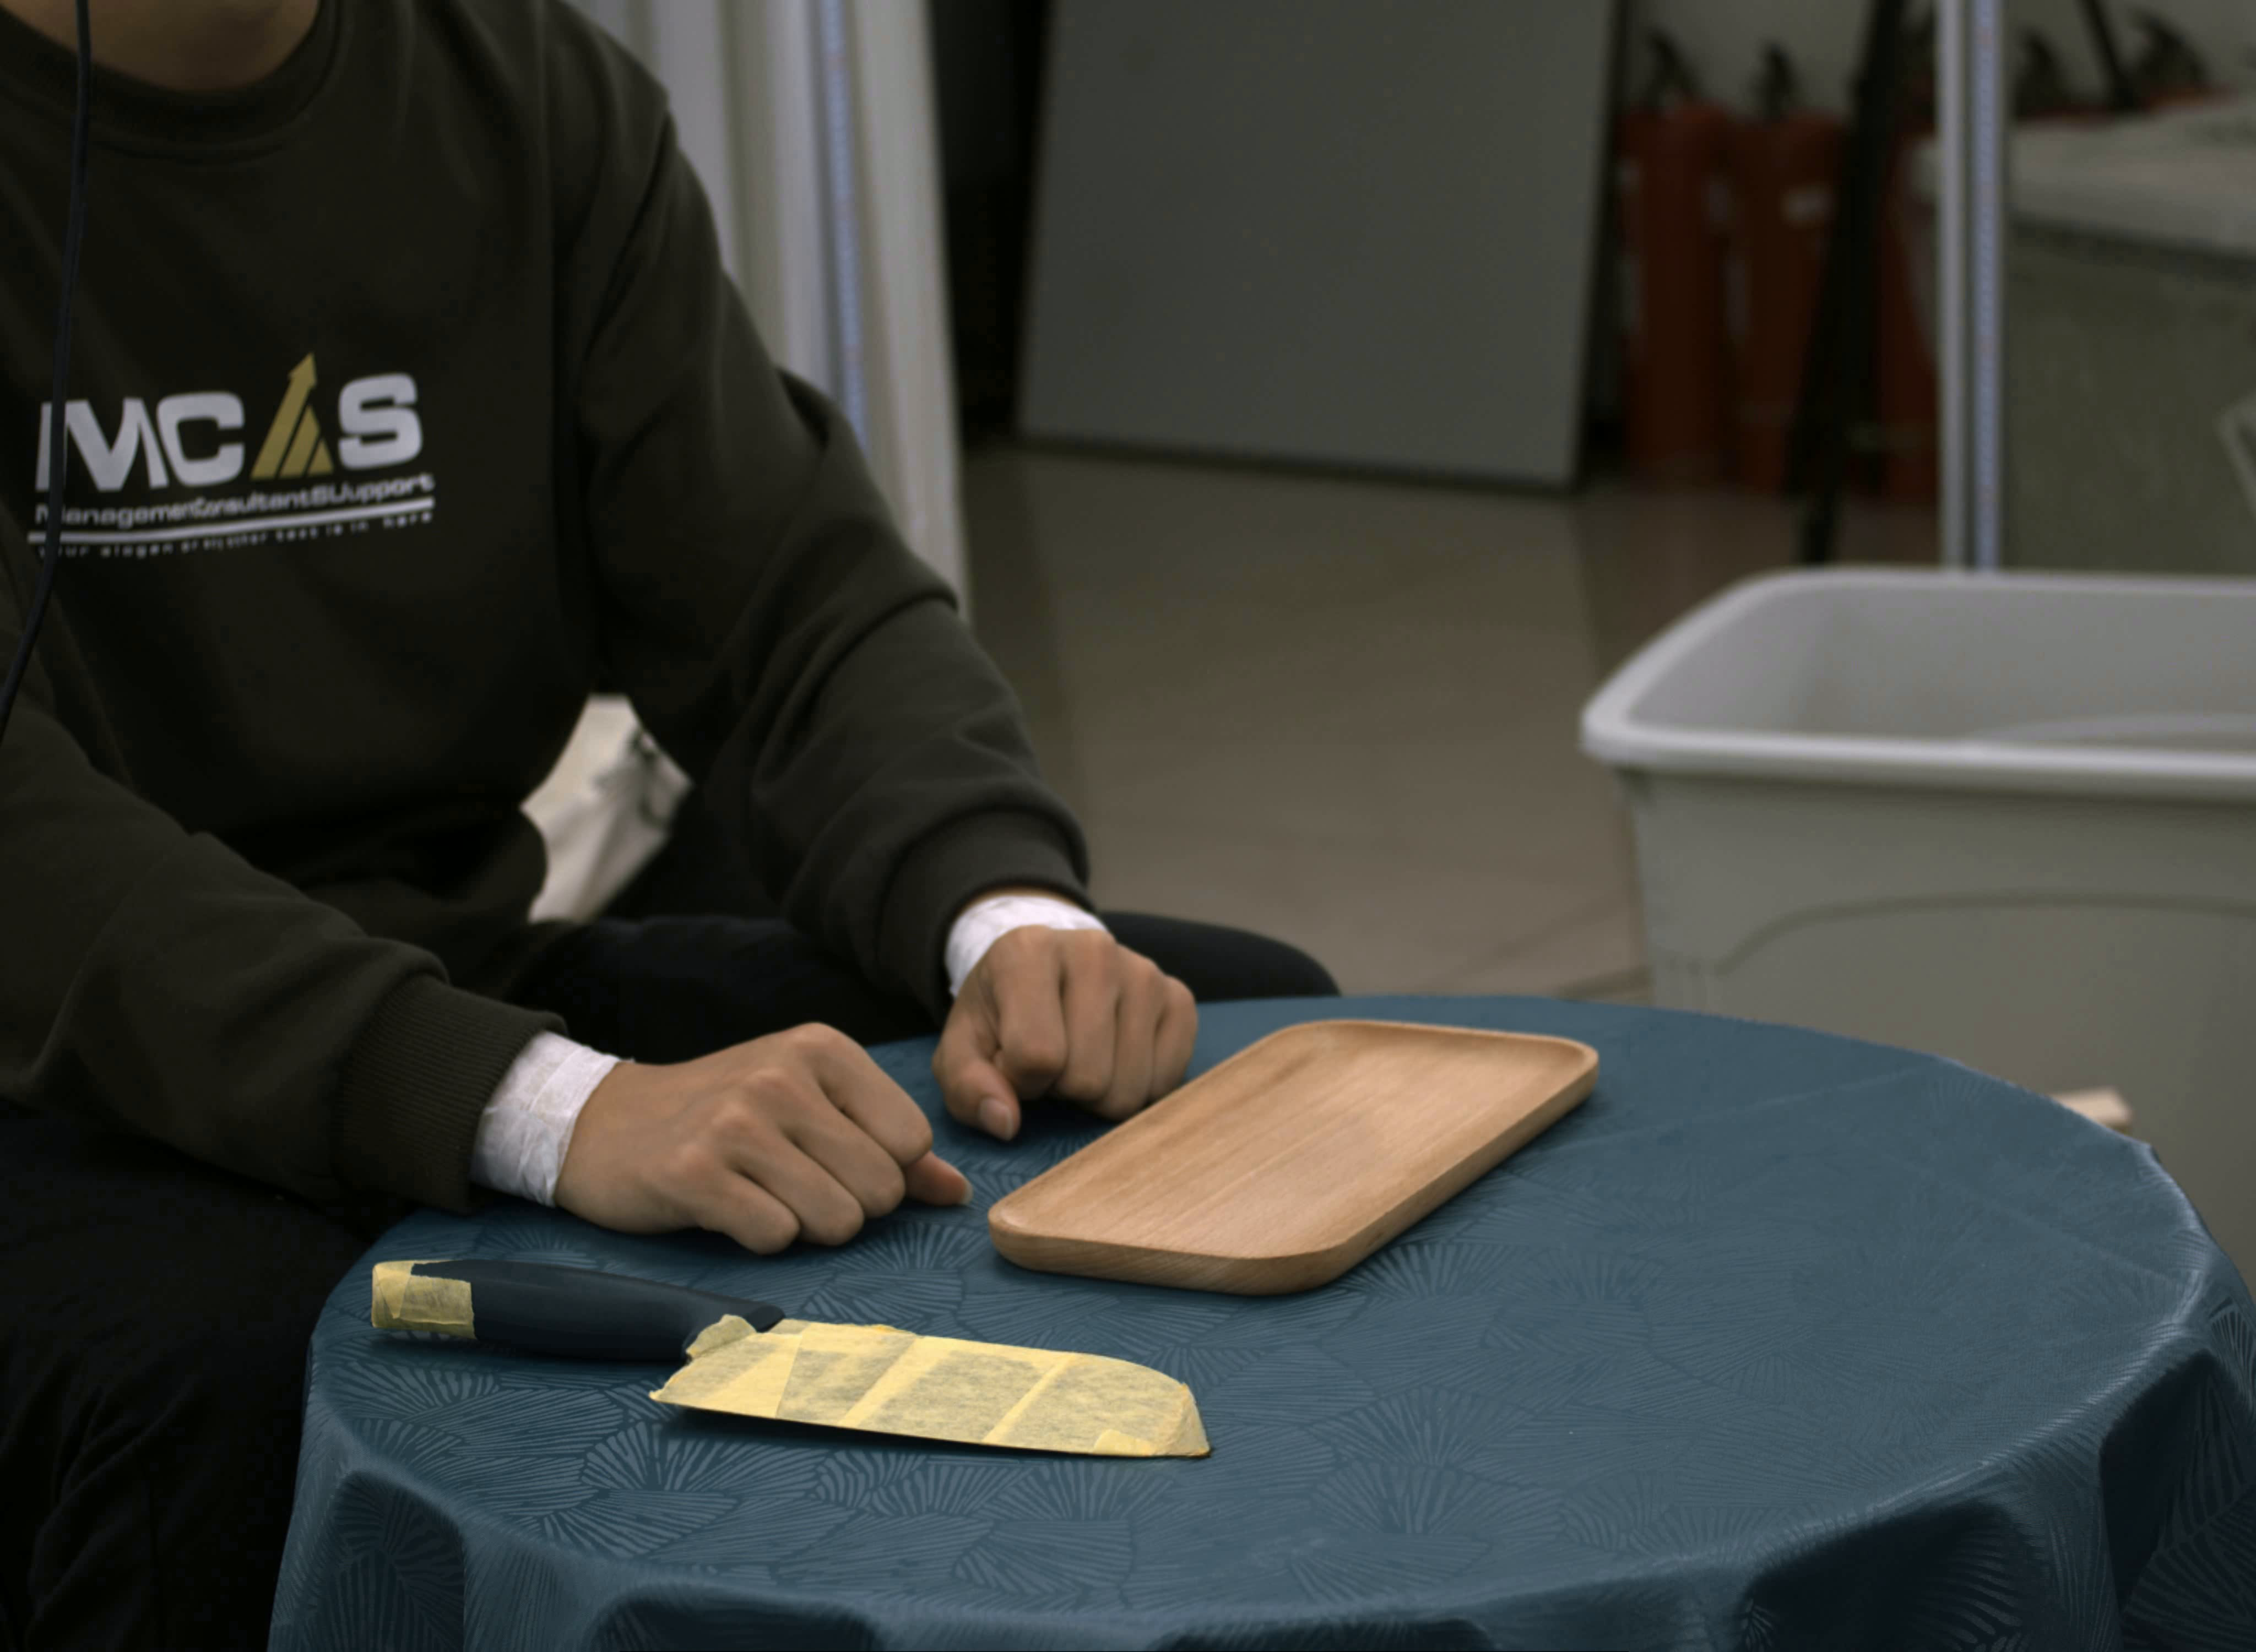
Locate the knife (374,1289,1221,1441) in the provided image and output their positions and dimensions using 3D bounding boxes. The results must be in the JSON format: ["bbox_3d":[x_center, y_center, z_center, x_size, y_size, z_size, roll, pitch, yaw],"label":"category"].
[{"bbox_3d":[-0.105,0.163,1.604,0.290,0.027,0.080,3,13,24],"label":"knife"}]

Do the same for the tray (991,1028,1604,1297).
[{"bbox_3d":[0.060,0.109,1.776,0.131,0.023,0.247,0,14,29],"label":"tray"}]
